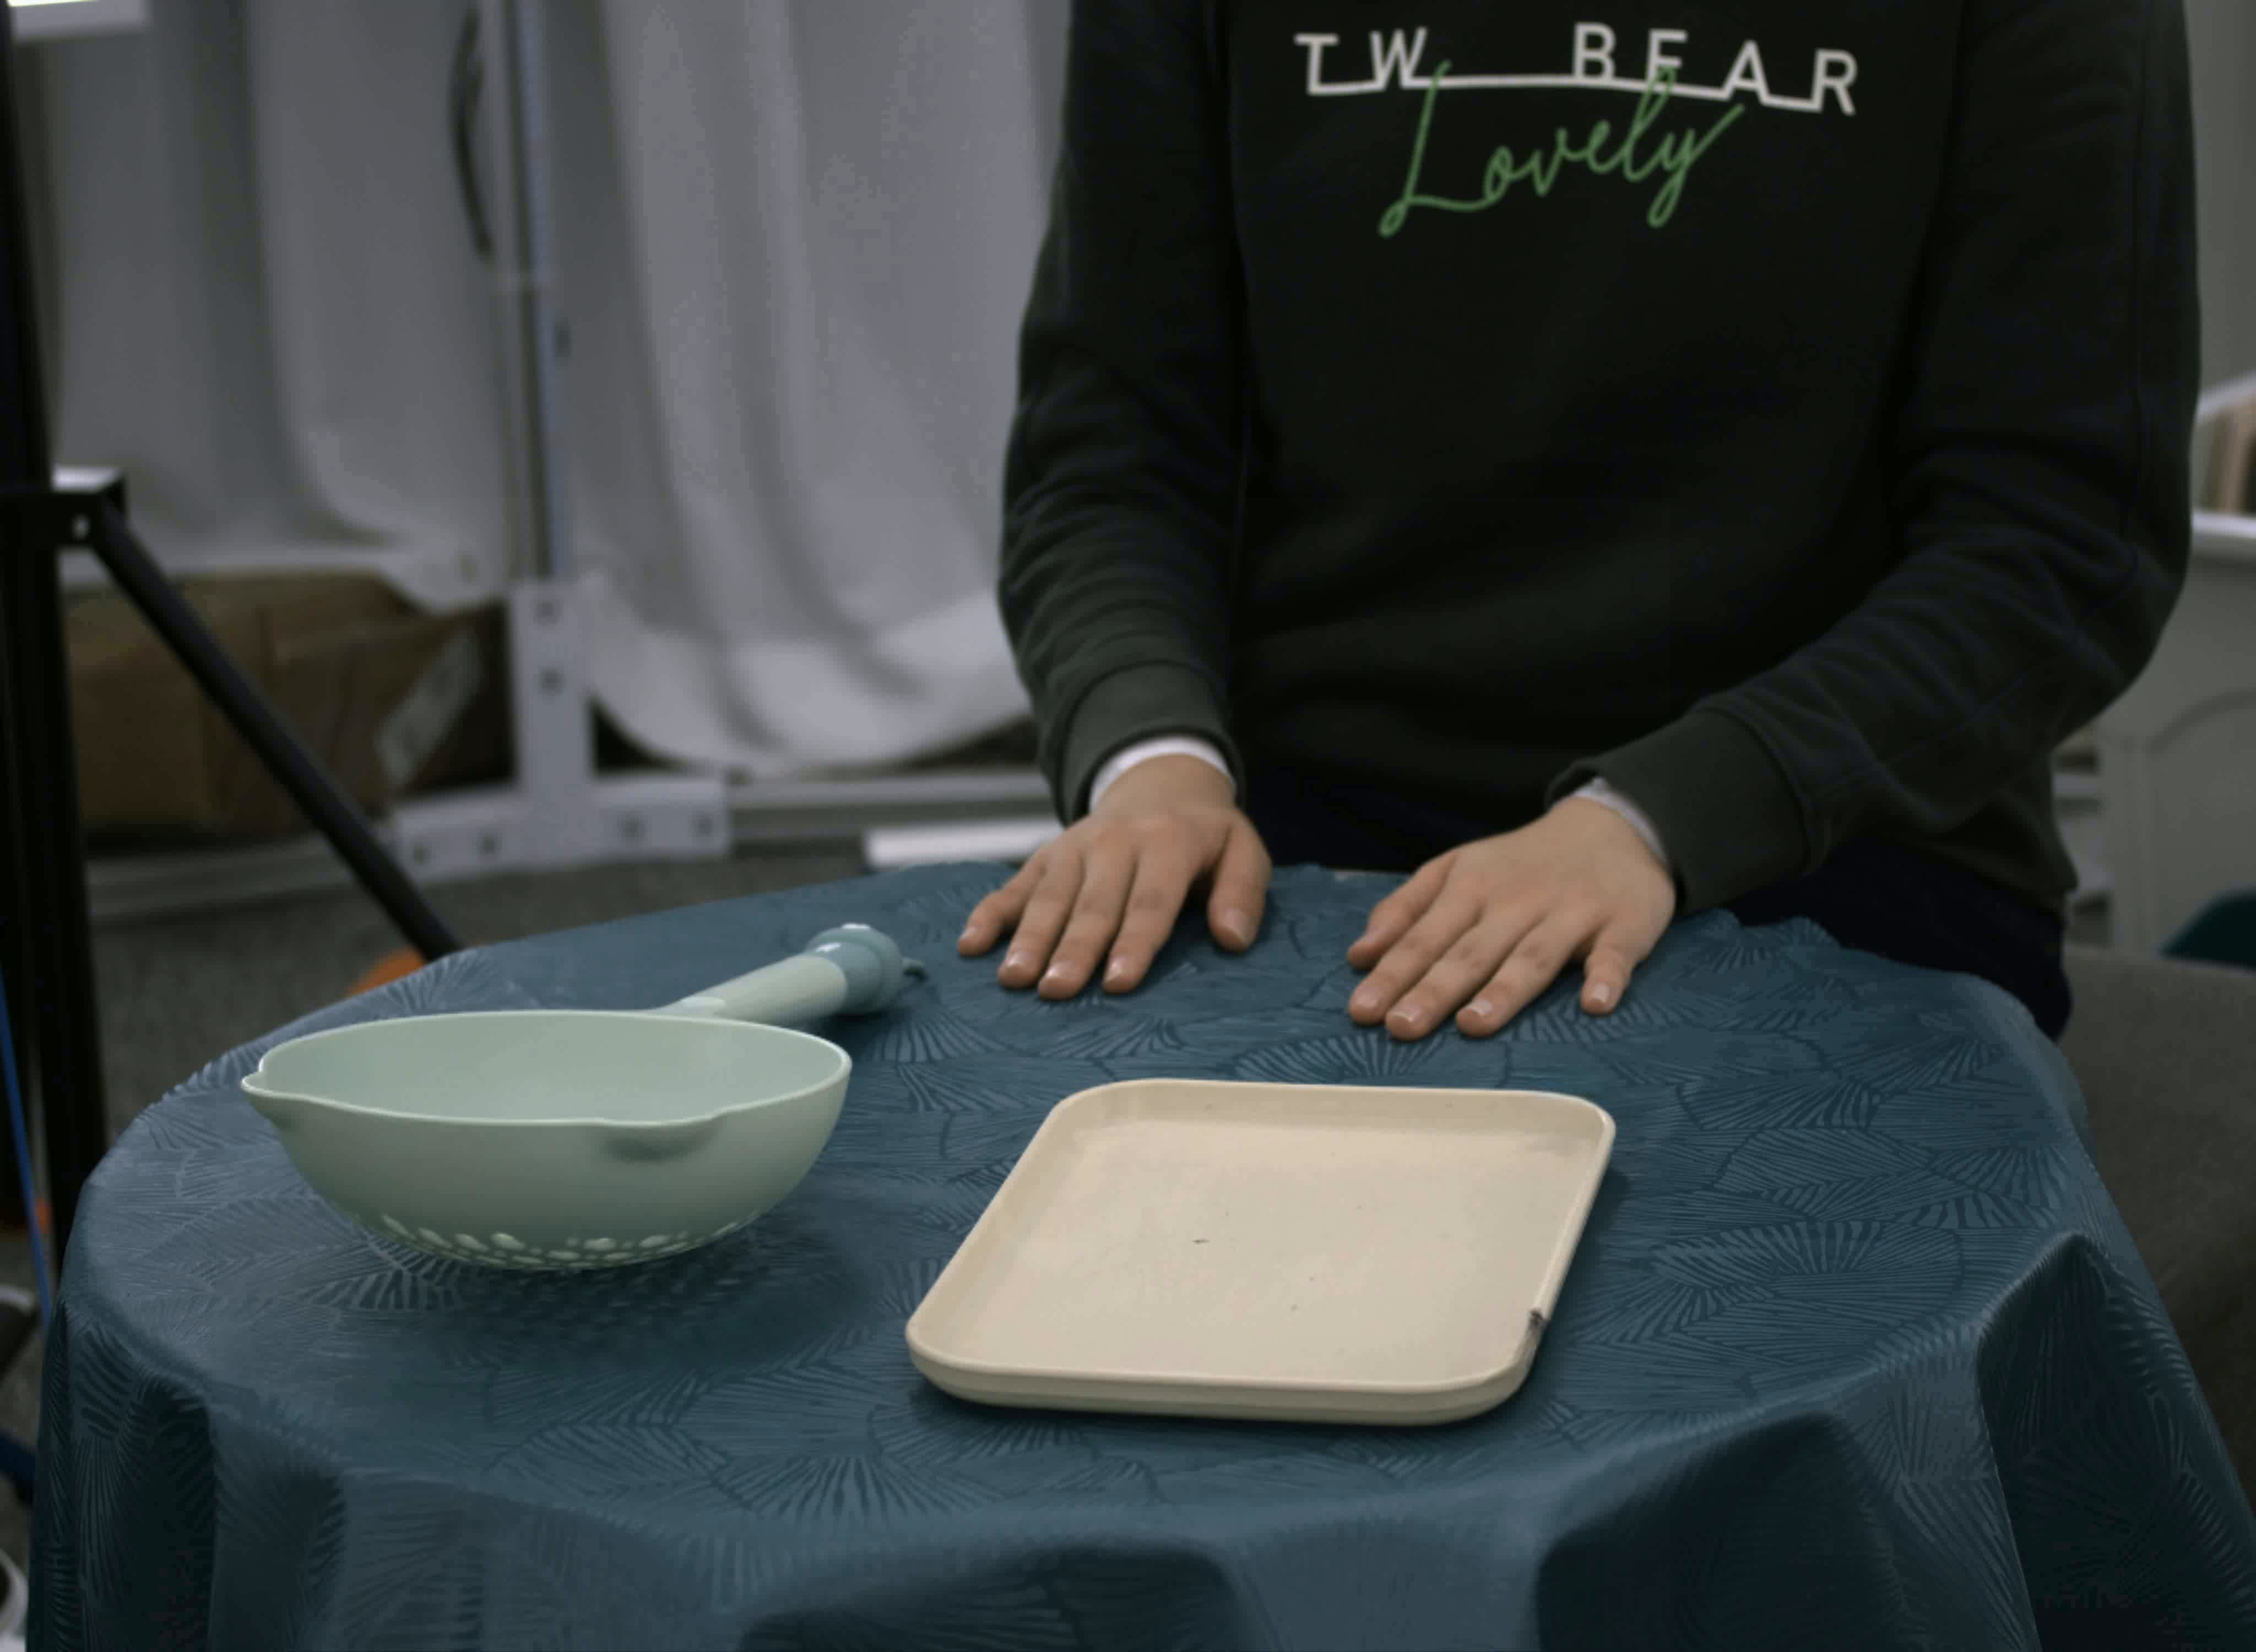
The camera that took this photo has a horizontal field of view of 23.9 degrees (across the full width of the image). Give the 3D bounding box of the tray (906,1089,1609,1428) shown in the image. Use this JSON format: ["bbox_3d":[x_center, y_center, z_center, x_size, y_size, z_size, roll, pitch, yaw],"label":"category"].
[{"bbox_3d":[0.041,0.119,1.481,0.172,0.017,0.238,1,15,13],"label":"tray"}]

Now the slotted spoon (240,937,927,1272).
[{"bbox_3d":[-0.132,0.068,1.608,0.171,0.075,0.355,4,16,19],"label":"slotted spoon"}]
